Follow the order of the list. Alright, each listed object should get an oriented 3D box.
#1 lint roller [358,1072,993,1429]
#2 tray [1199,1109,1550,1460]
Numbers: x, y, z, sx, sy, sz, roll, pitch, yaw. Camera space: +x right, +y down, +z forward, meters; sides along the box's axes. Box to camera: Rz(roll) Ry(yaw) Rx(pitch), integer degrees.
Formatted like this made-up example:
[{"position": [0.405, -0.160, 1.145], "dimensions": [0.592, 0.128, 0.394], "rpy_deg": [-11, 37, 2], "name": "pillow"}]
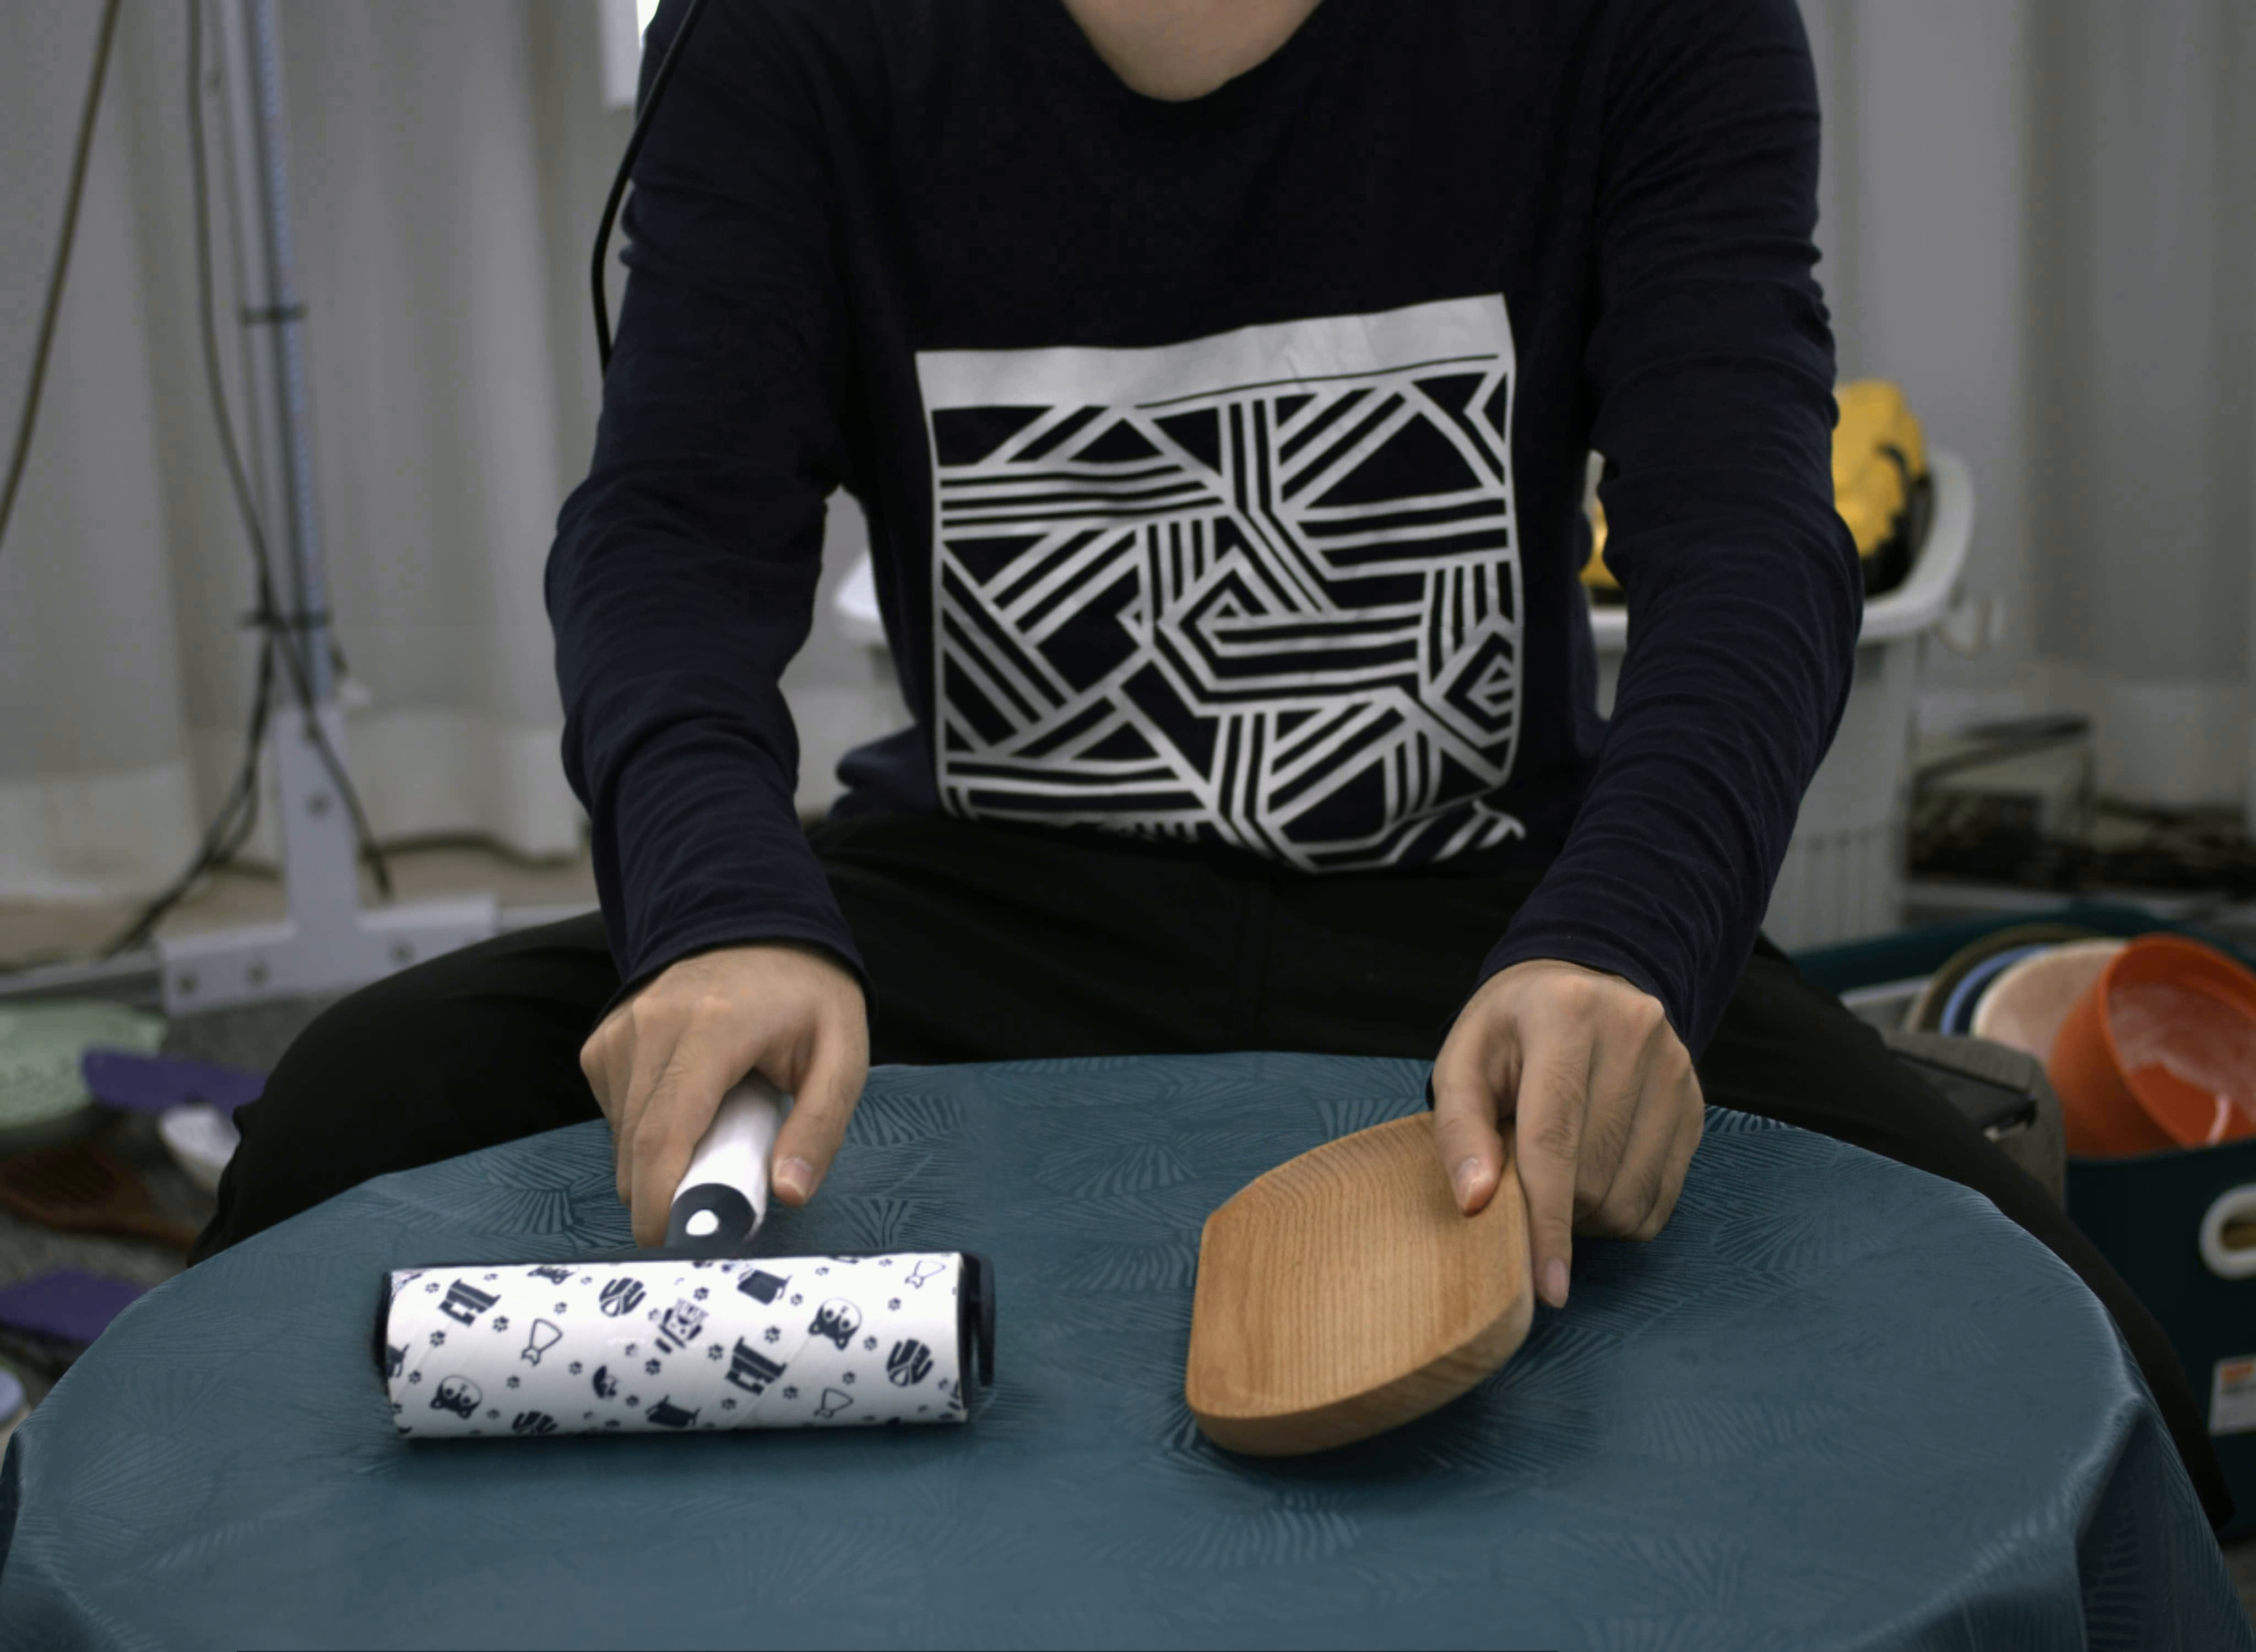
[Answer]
[{"position": [-0.124, 0.115, 1.628], "dimensions": [0.176, 0.050, 0.249], "rpy_deg": [-3, 17, 2], "name": "lint roller"}, {"position": [0.070, 0.129, 1.564], "dimensions": [0.101, 0.020, 0.233], "rpy_deg": [-22, 14, 6], "name": "tray"}]
